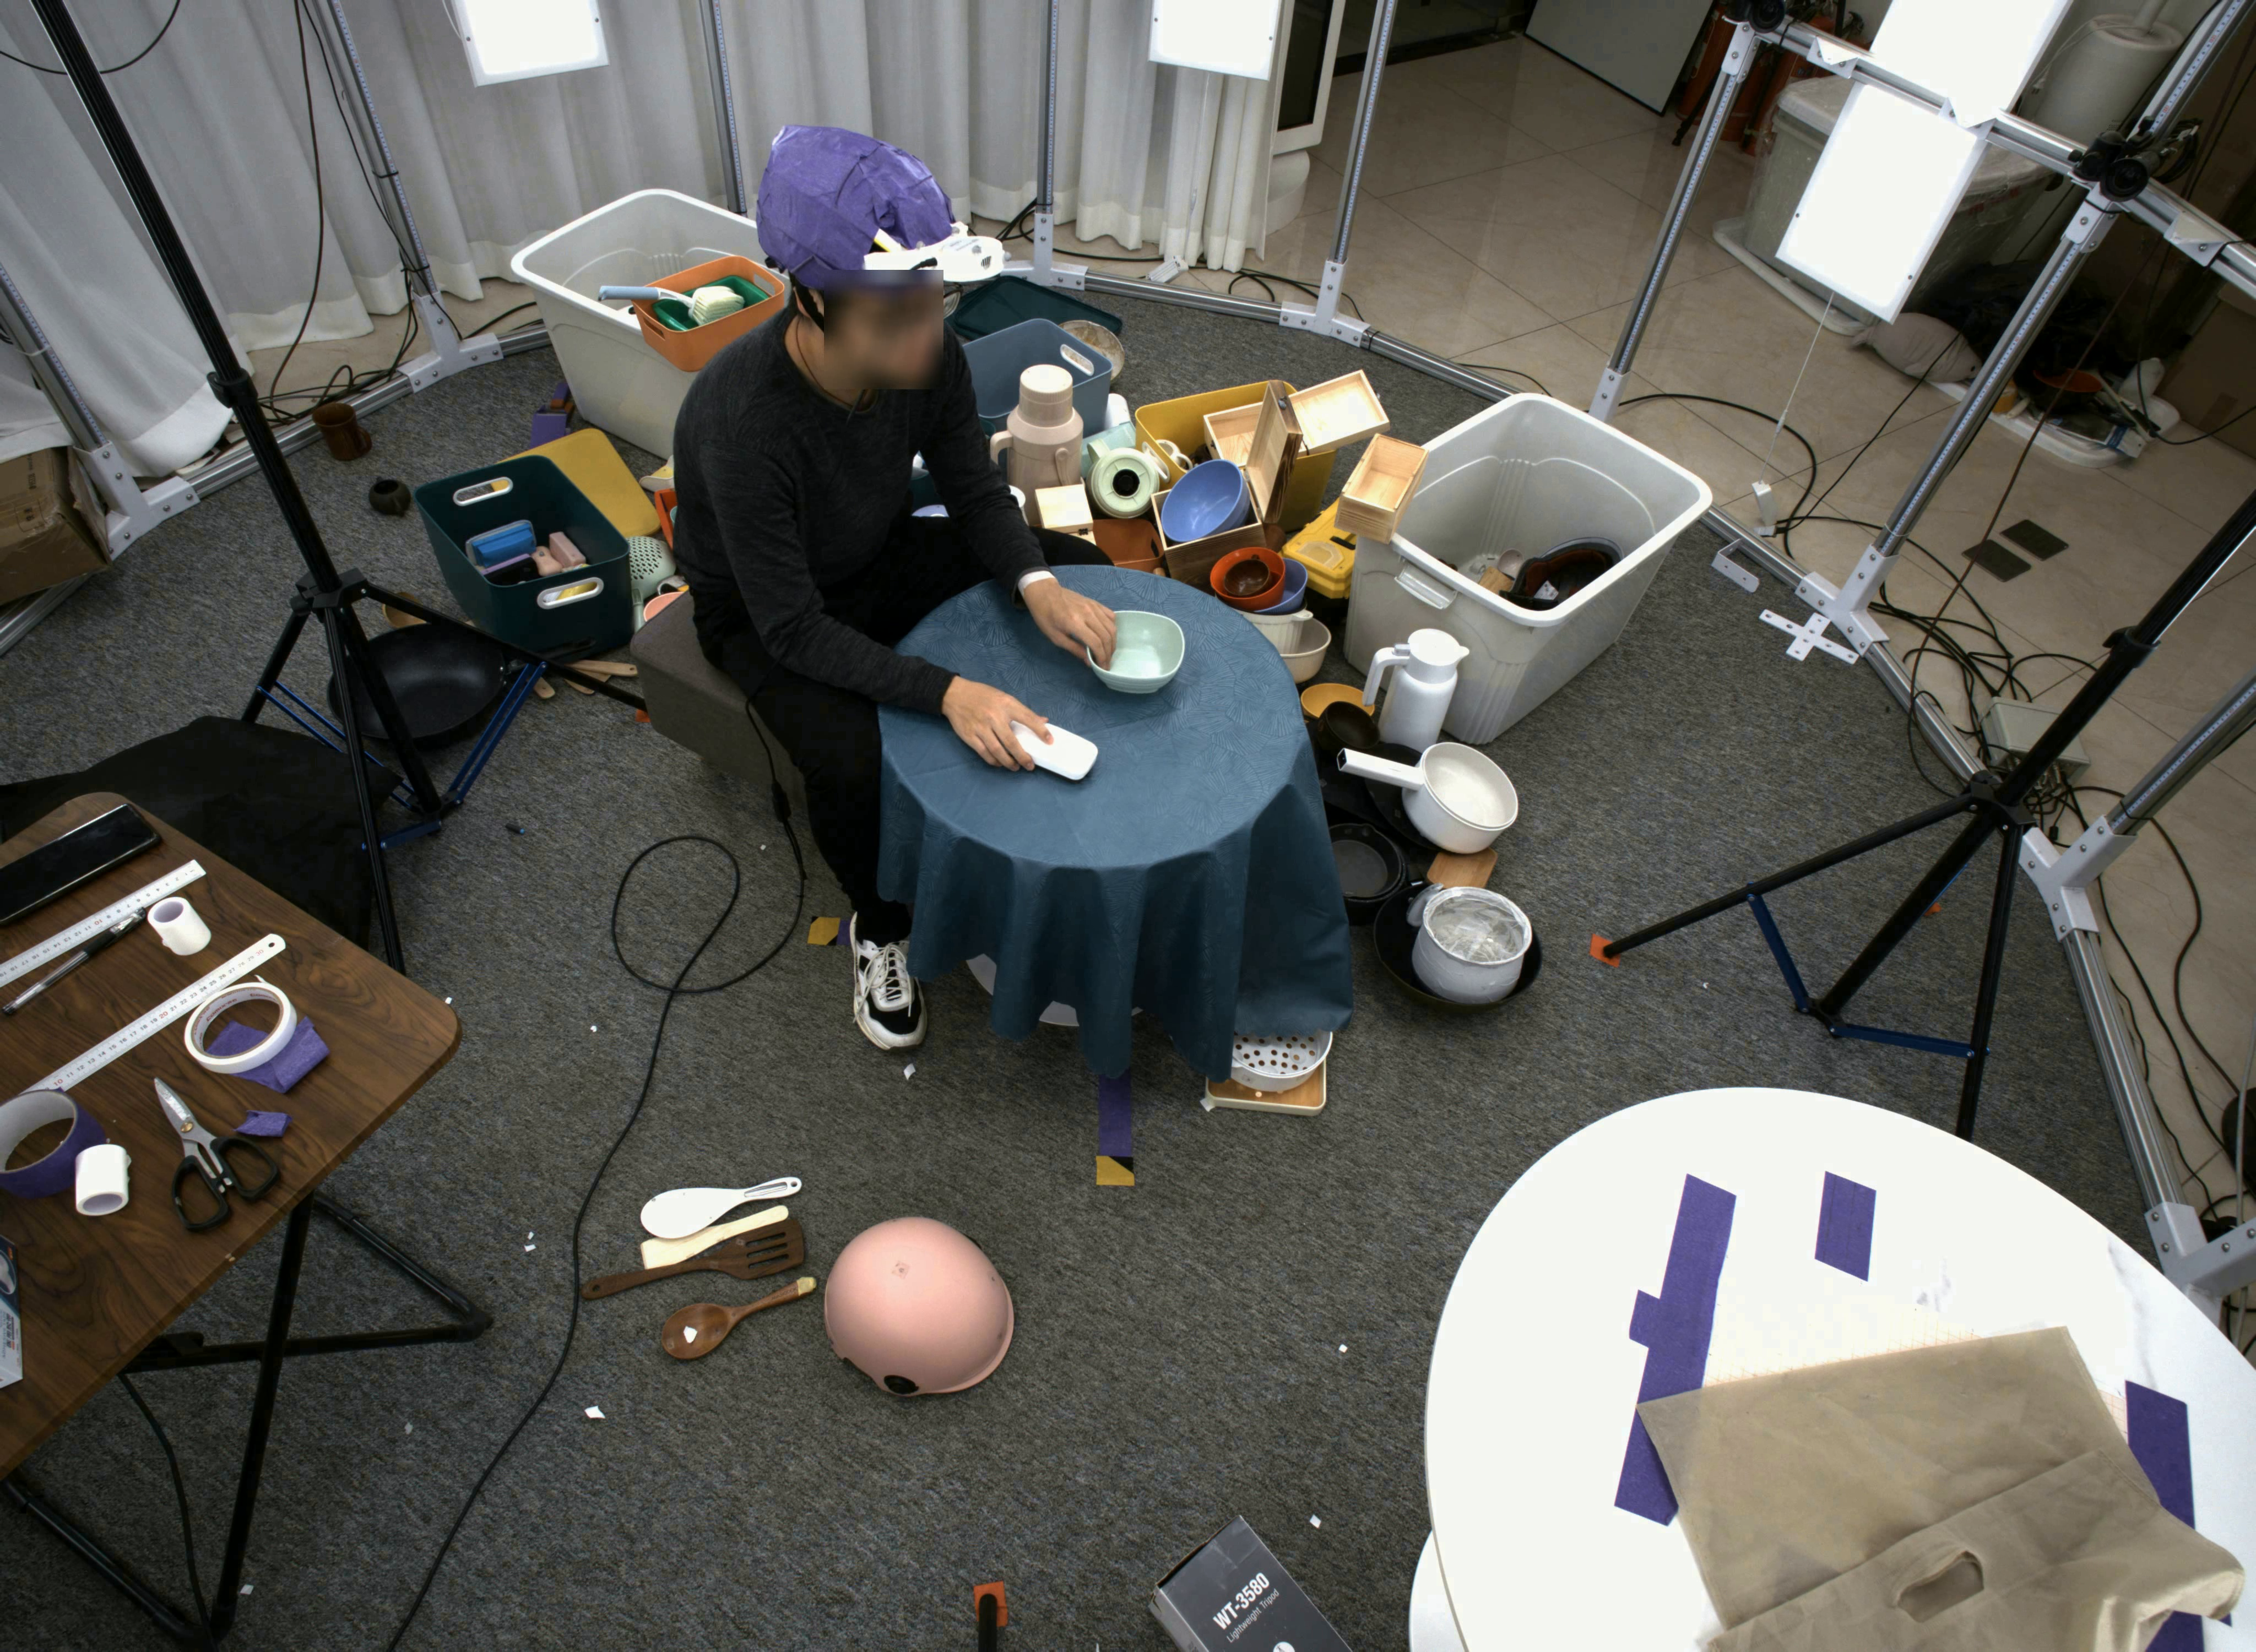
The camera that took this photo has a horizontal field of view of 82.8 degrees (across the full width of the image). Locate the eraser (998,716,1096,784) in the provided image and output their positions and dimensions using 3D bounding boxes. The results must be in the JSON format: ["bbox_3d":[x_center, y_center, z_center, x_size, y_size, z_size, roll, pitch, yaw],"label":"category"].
[{"bbox_3d":[-0.109,-0.106,1.734,0.132,0.034,0.064,25,50,14],"label":"eraser"}]

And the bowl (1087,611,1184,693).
[{"bbox_3d":[0.009,-0.241,1.844,0.151,0.057,0.155,3,50,-4],"label":"bowl"}]
